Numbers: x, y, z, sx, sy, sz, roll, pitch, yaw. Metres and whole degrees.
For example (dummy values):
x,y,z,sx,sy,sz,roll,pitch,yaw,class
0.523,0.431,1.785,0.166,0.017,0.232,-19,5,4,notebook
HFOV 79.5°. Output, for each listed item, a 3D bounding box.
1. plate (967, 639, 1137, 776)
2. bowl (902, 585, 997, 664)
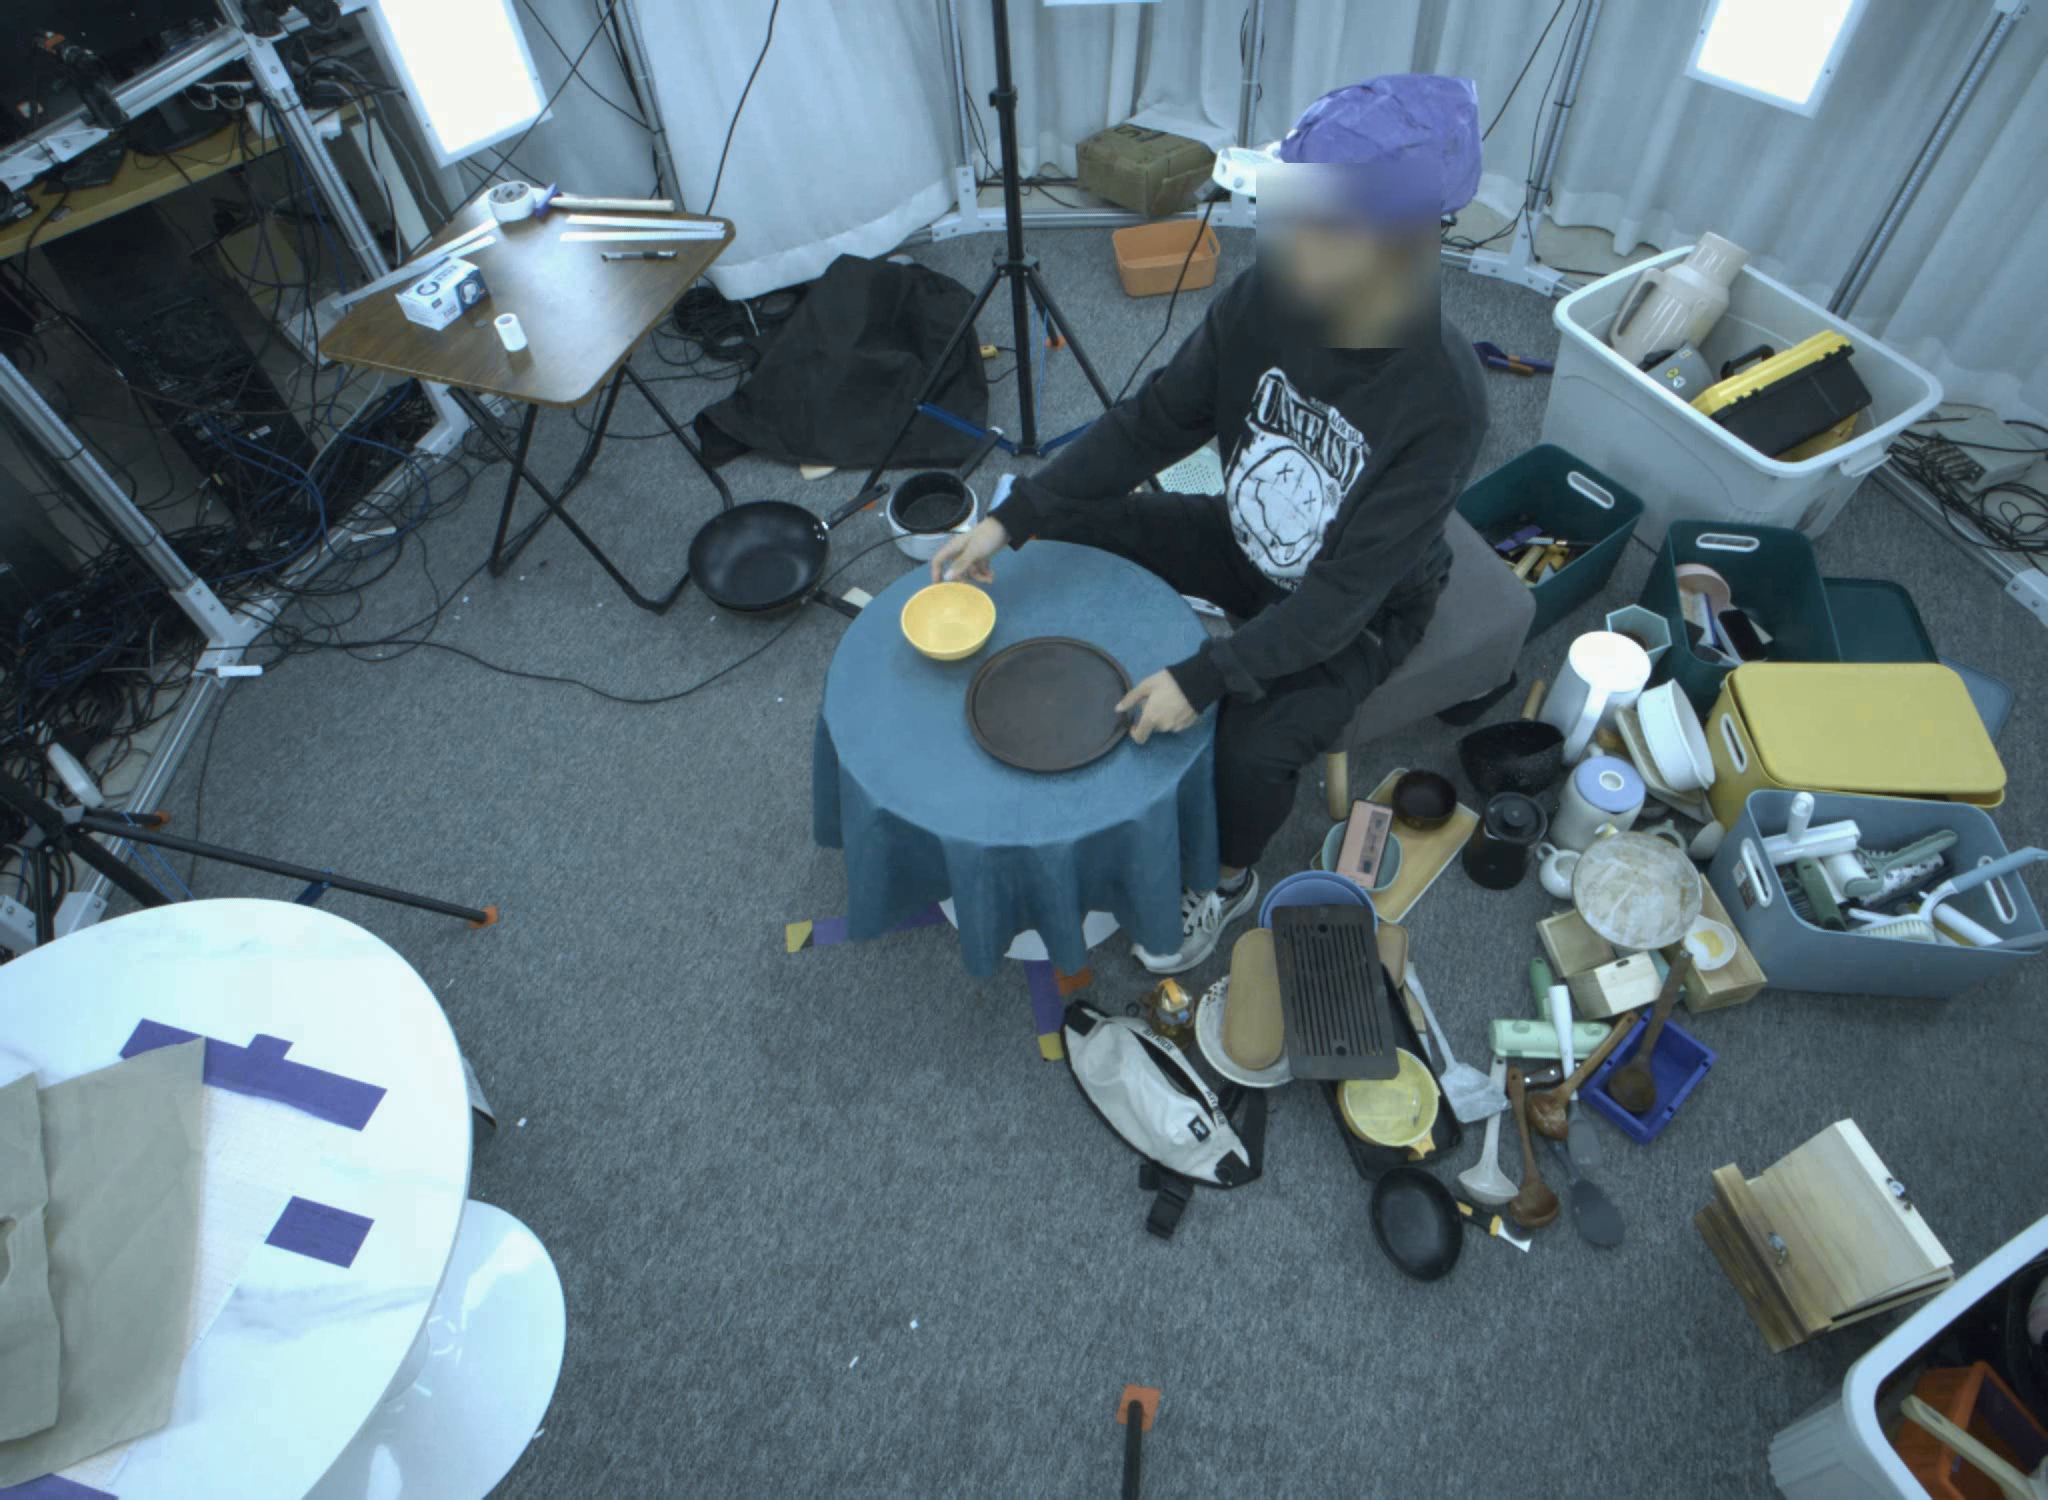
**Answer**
x,y,z,sx,sy,sz,roll,pitch,yaw,class
0.041,-0.064,1.828,0.254,0.029,0.252,-1,53,2,plate
-0.114,-0.183,1.895,0.145,0.060,0.144,1,56,0,bowl
